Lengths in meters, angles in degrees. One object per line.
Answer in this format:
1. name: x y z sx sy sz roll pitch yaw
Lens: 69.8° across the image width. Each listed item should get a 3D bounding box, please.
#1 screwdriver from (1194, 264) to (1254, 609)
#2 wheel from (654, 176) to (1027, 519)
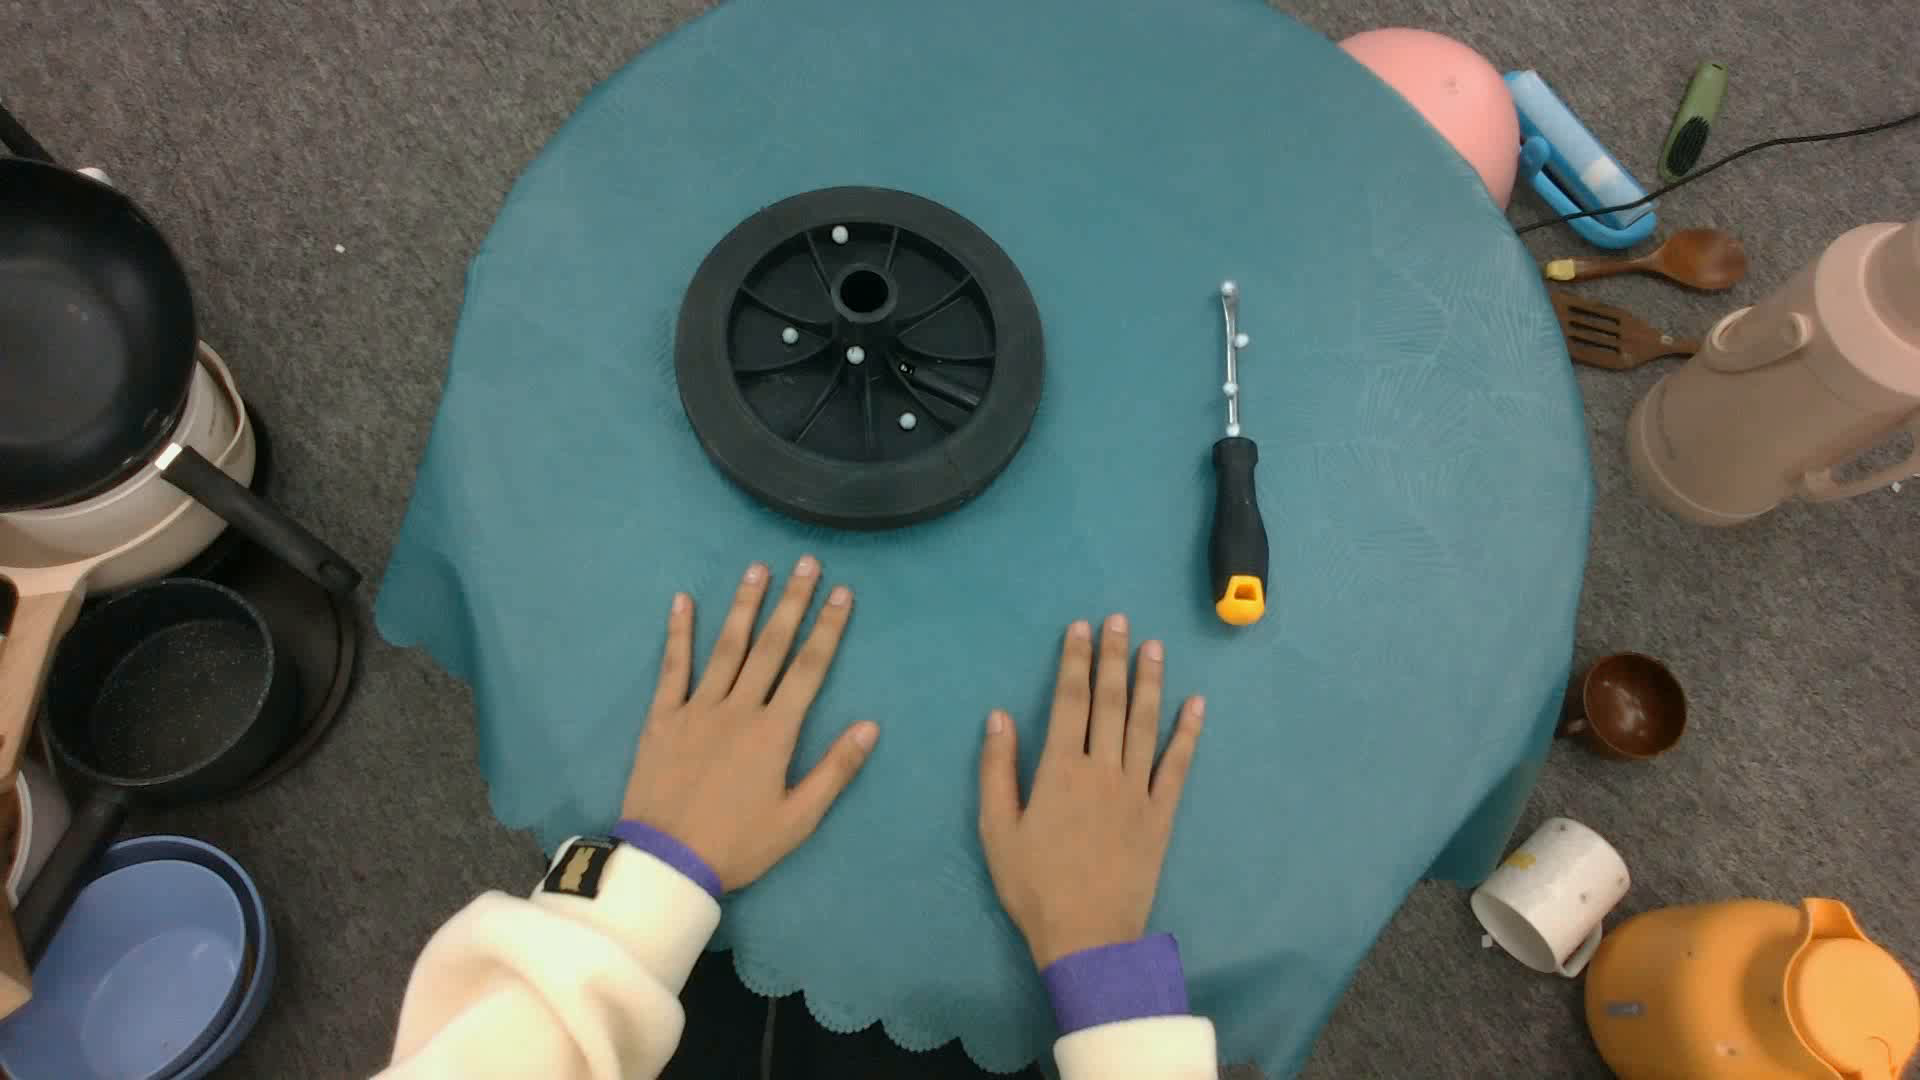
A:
1. screwdriver: 0.137 -0.059 0.713 0.031 0.031 0.198 6 67 -3
2. wheel: -0.057 -0.108 0.684 0.190 0.079 0.188 3 70 -8
